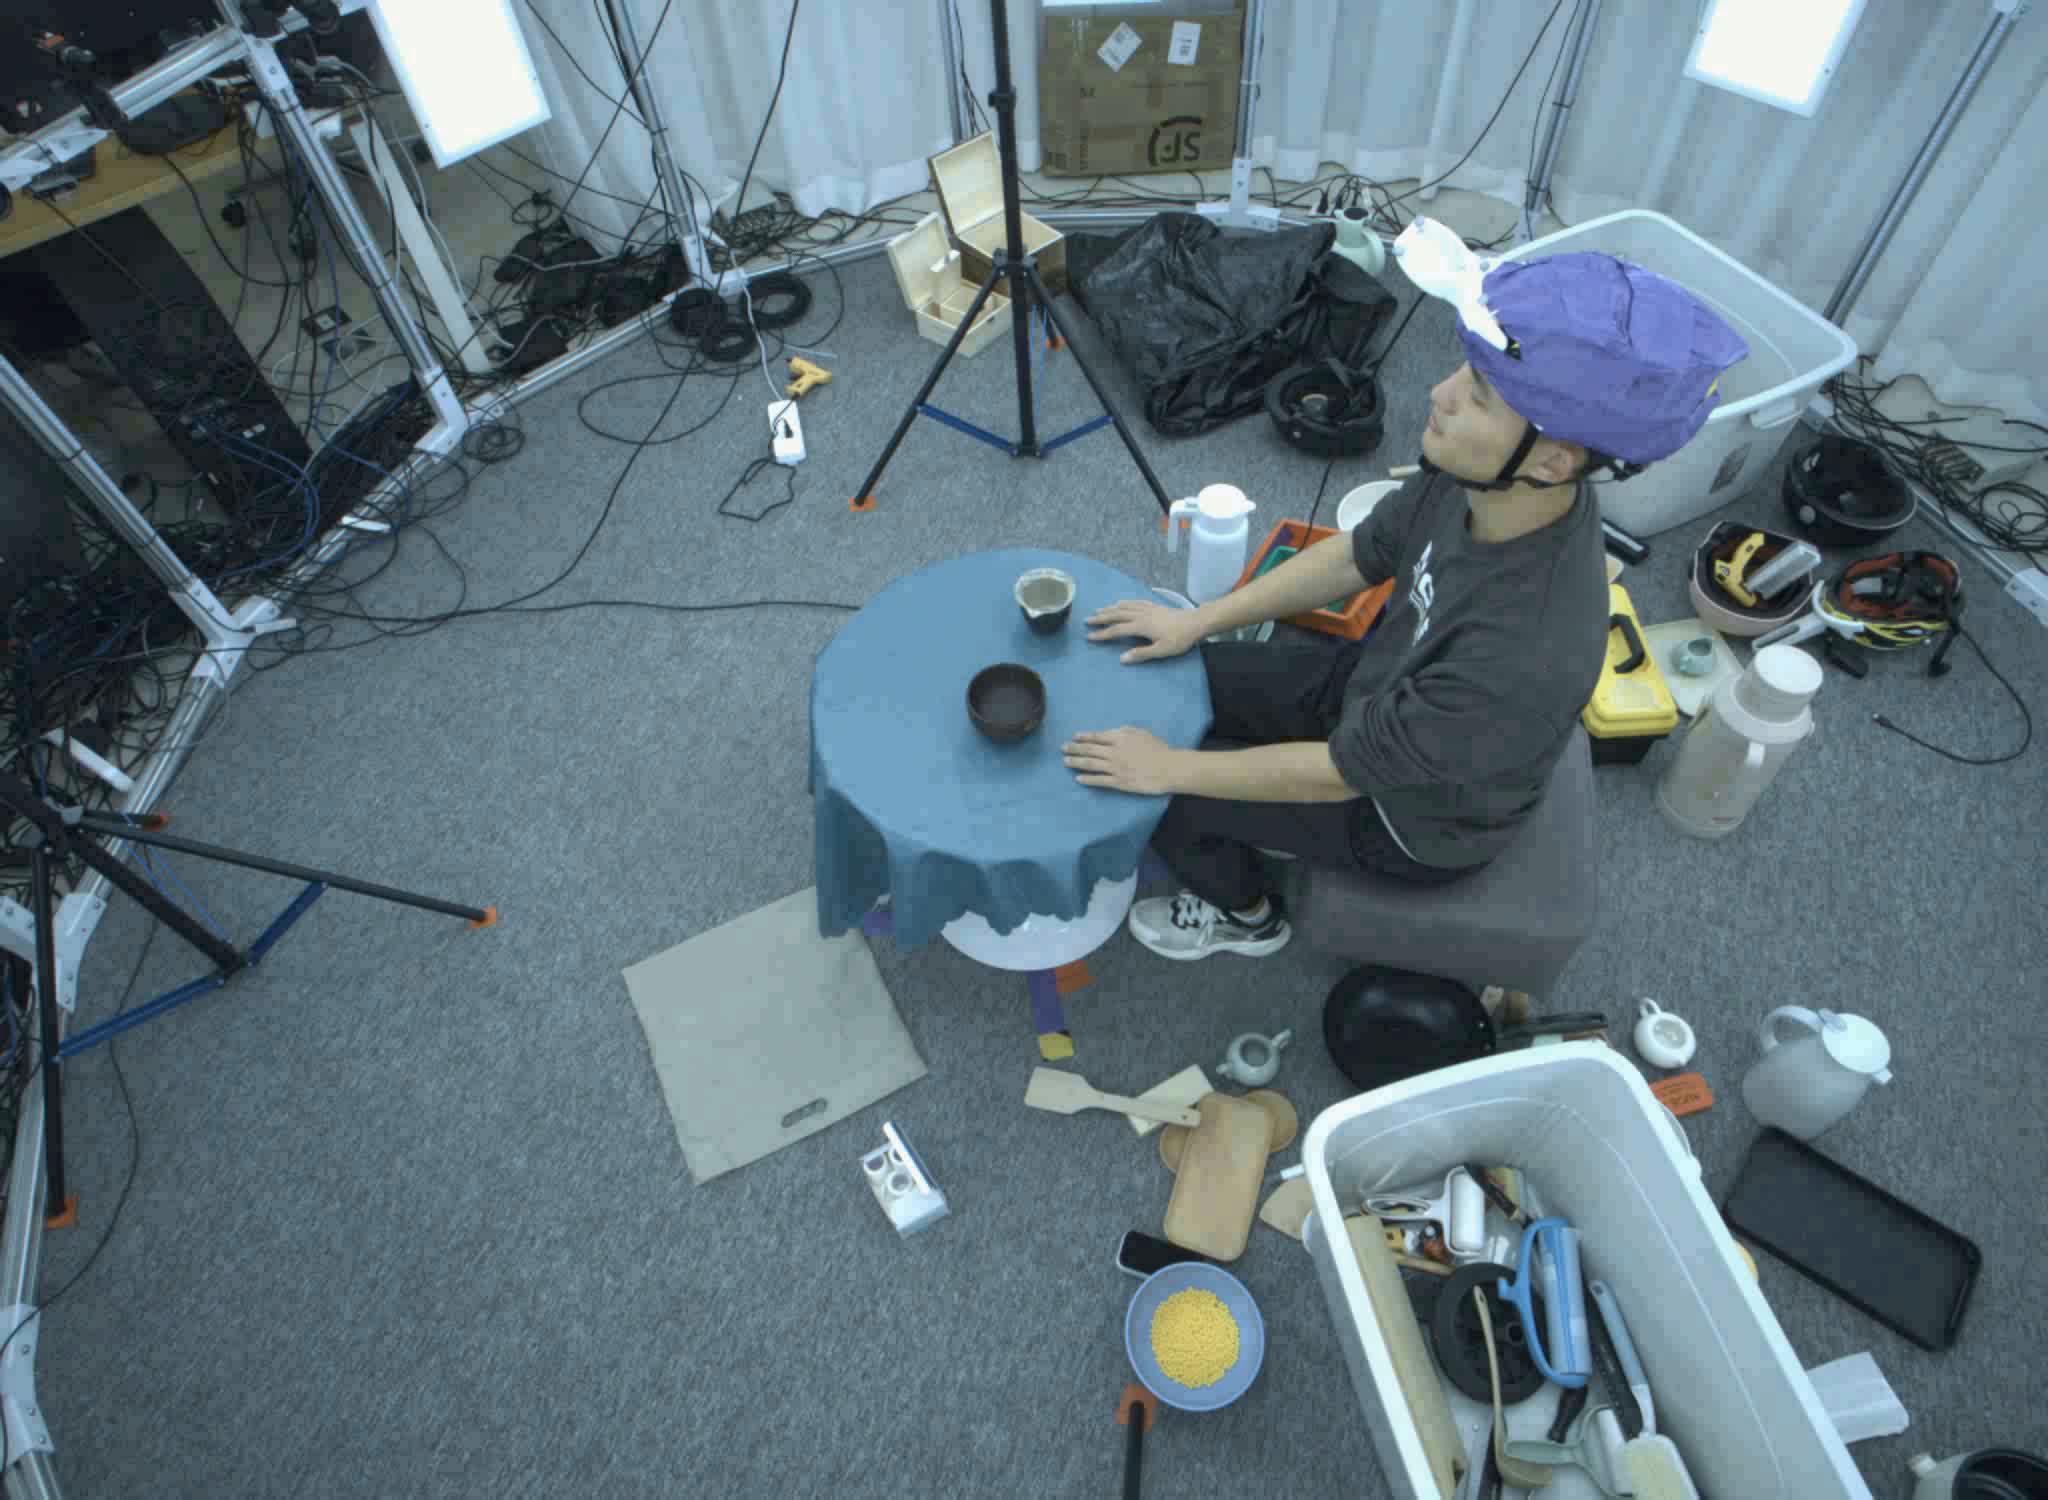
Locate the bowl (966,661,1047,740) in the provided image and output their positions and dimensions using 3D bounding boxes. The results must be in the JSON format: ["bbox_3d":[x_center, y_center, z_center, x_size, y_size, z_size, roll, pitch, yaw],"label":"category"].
[{"bbox_3d":[-0.024,-0.063,1.787,0.118,0.070,0.117,-1,53,3],"label":"bowl"}]

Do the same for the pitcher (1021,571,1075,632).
[{"bbox_3d":[0.035,-0.221,1.896,0.083,0.072,0.096,22,58,15],"label":"pitcher"}]
